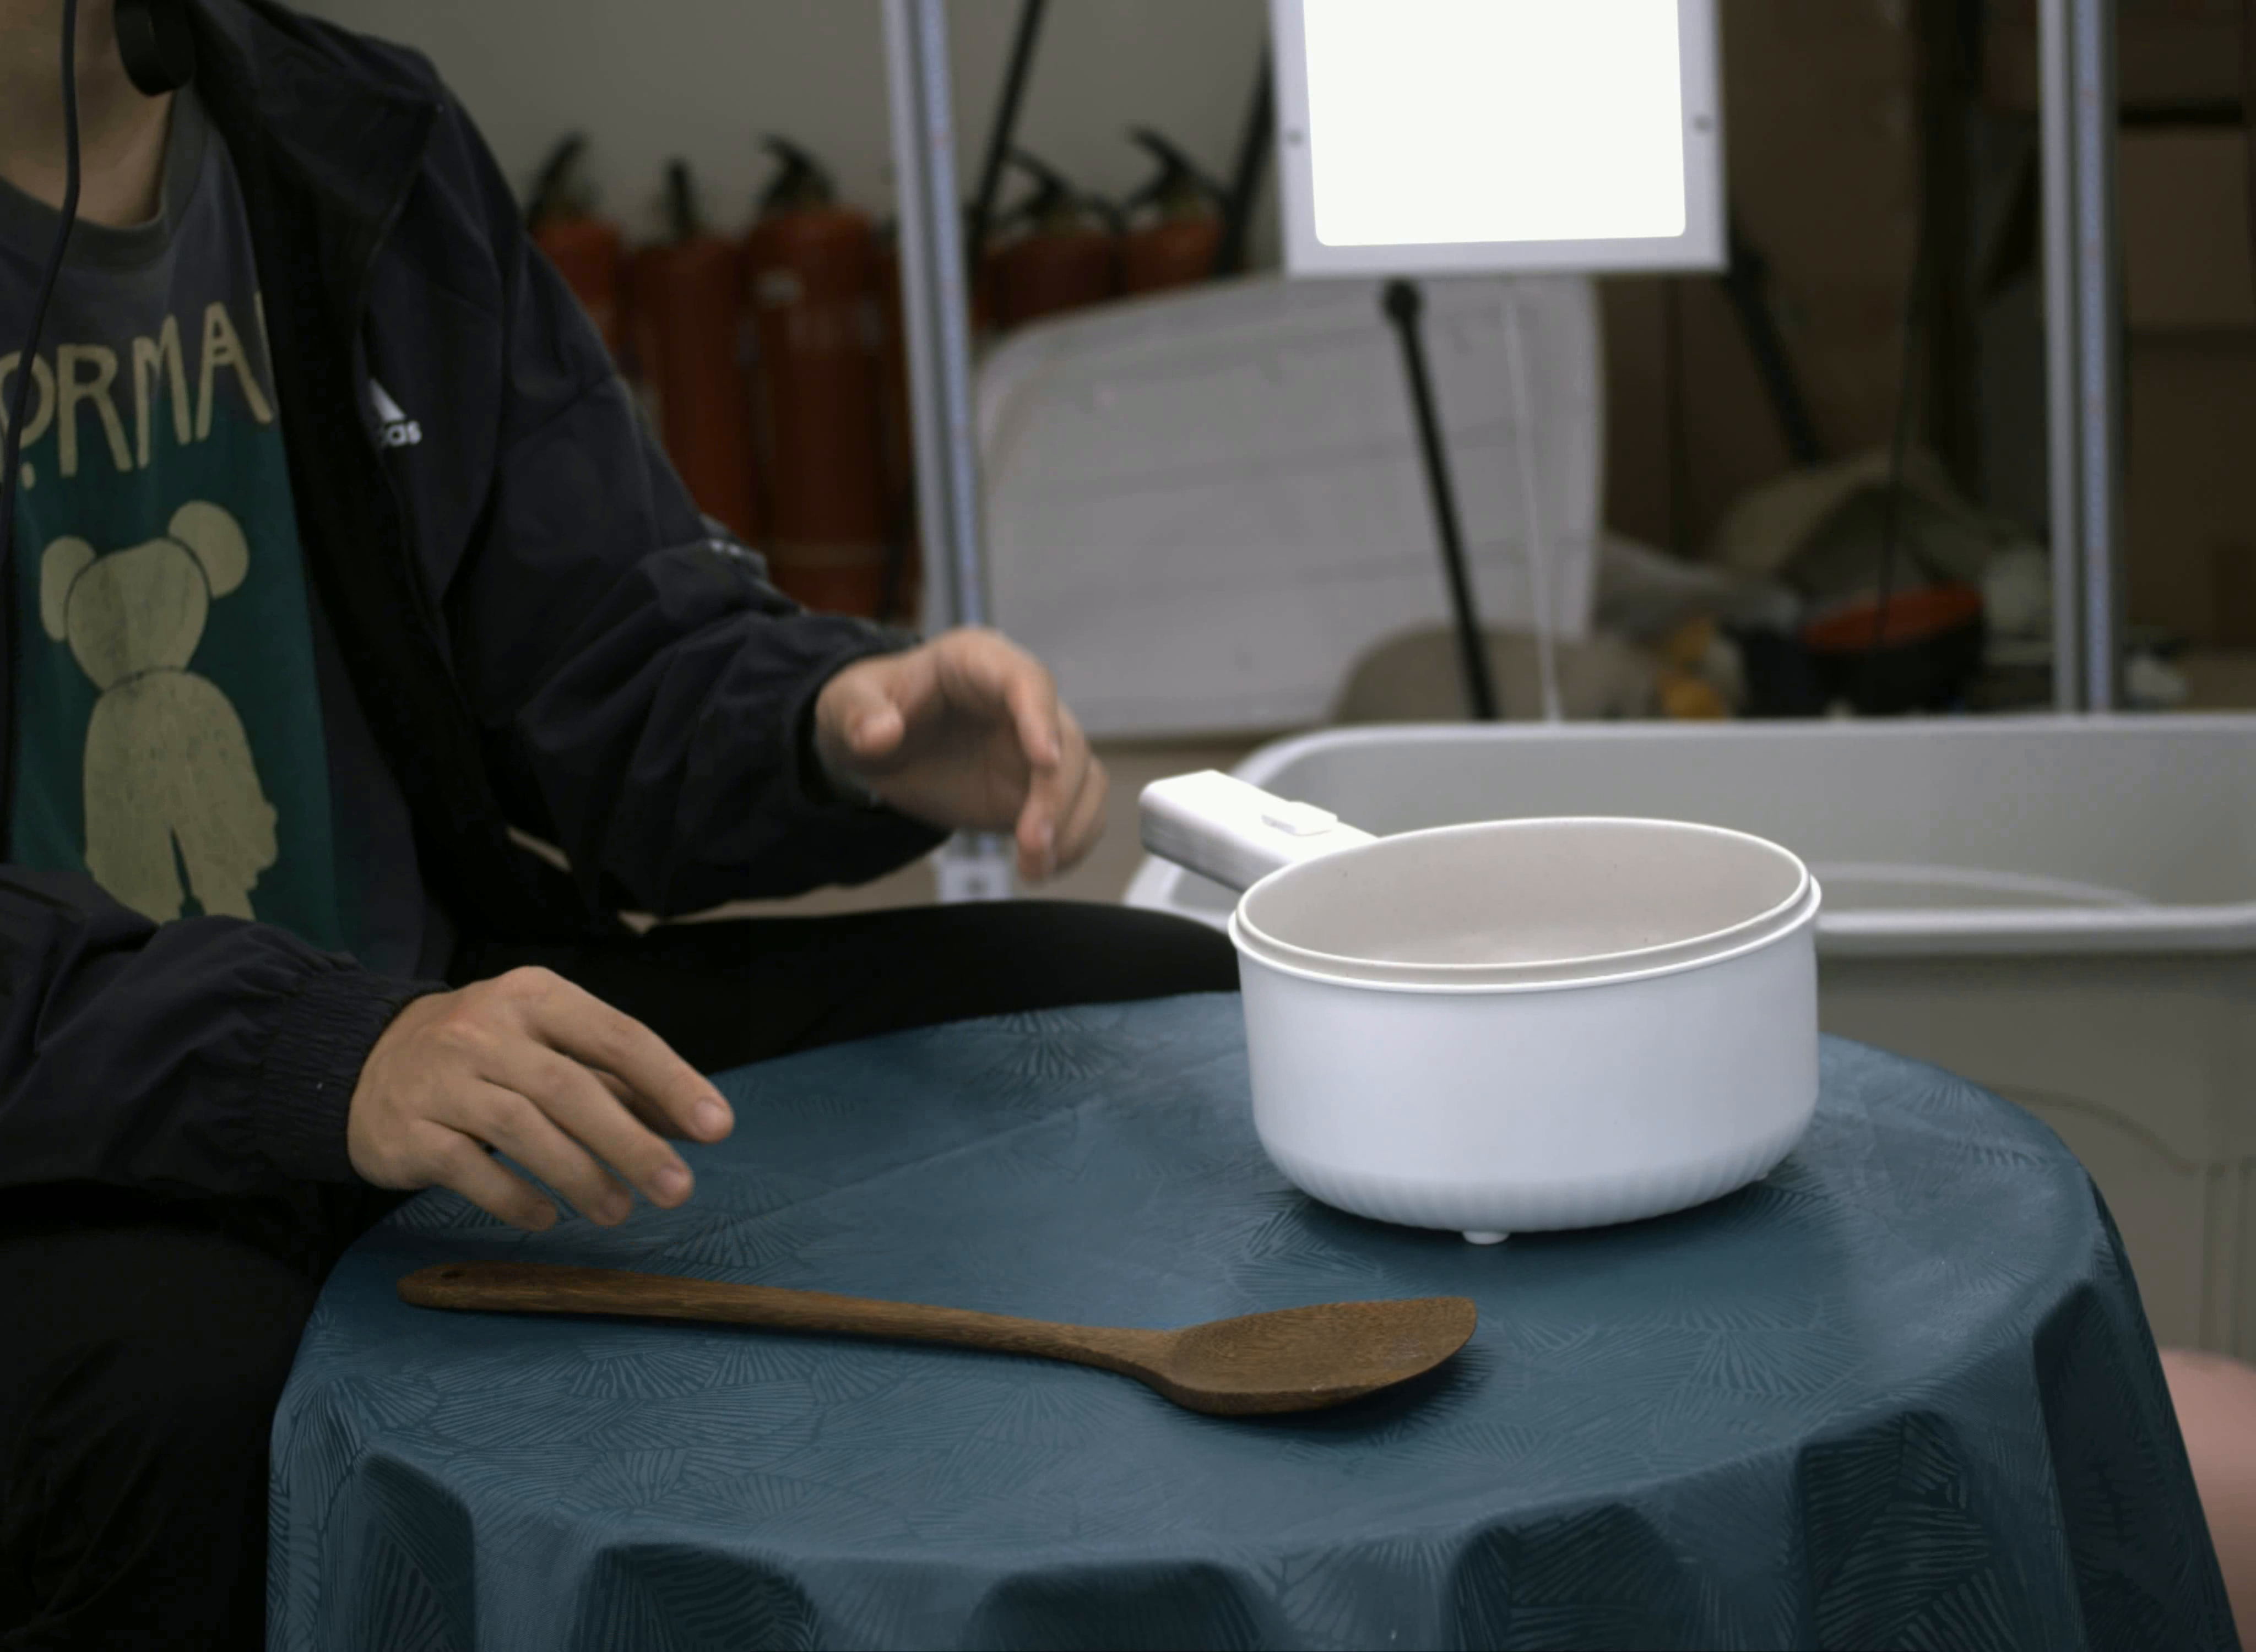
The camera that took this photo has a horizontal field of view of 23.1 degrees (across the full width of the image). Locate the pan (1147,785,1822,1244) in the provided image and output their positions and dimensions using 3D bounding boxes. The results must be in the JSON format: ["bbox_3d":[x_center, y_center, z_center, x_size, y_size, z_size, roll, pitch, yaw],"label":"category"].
[{"bbox_3d":[0.104,0.059,1.936,0.197,0.102,0.360,-12,13,-24],"label":"pan"}]

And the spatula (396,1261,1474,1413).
[{"bbox_3d":[-0.073,0.158,1.764,0.393,0.016,0.094,2,15,29],"label":"spatula"}]
